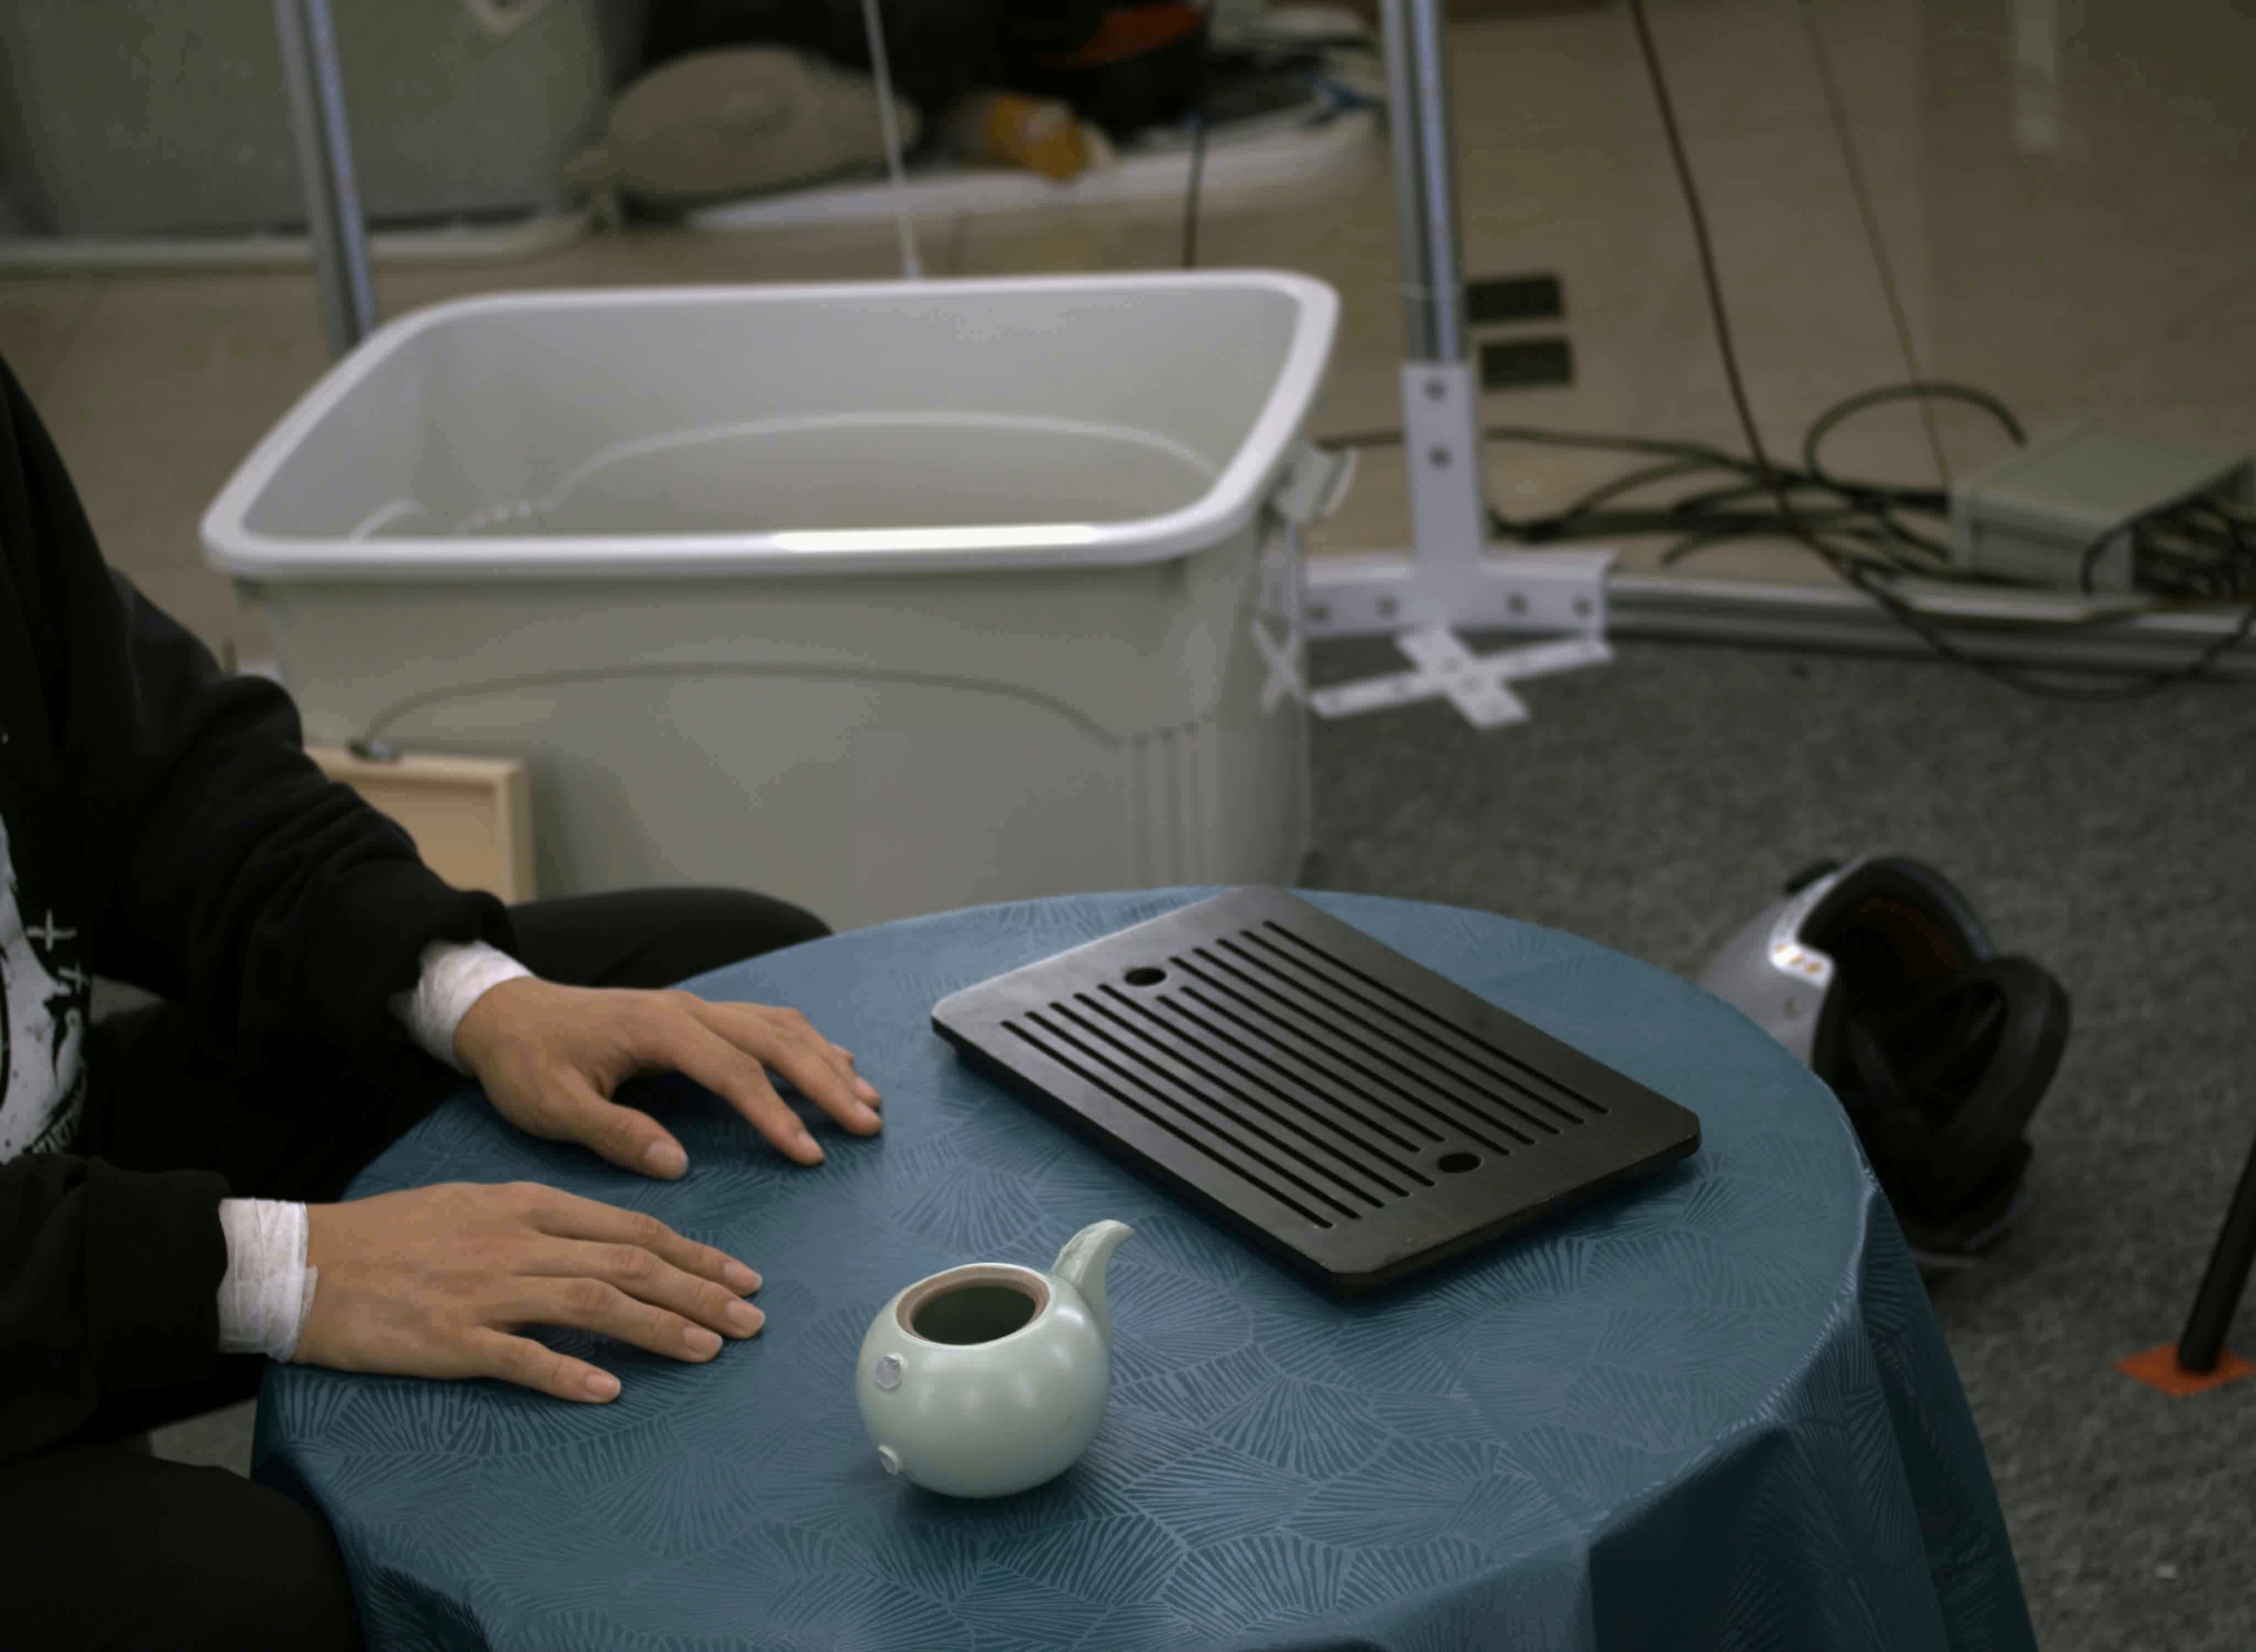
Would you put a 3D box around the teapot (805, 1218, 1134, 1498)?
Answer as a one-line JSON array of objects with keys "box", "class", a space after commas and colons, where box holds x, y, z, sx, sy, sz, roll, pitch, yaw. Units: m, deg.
[{"box": [-0.052, 0.191, 1.964, 0.143, 0.076, 0.087, -22, 29, -33], "class": "teapot"}]

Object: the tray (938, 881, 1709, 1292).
[{"box": [0.071, 0.098, 2.199, 0.169, 0.019, 0.303, -20, 28, -27], "class": "tray"}]
